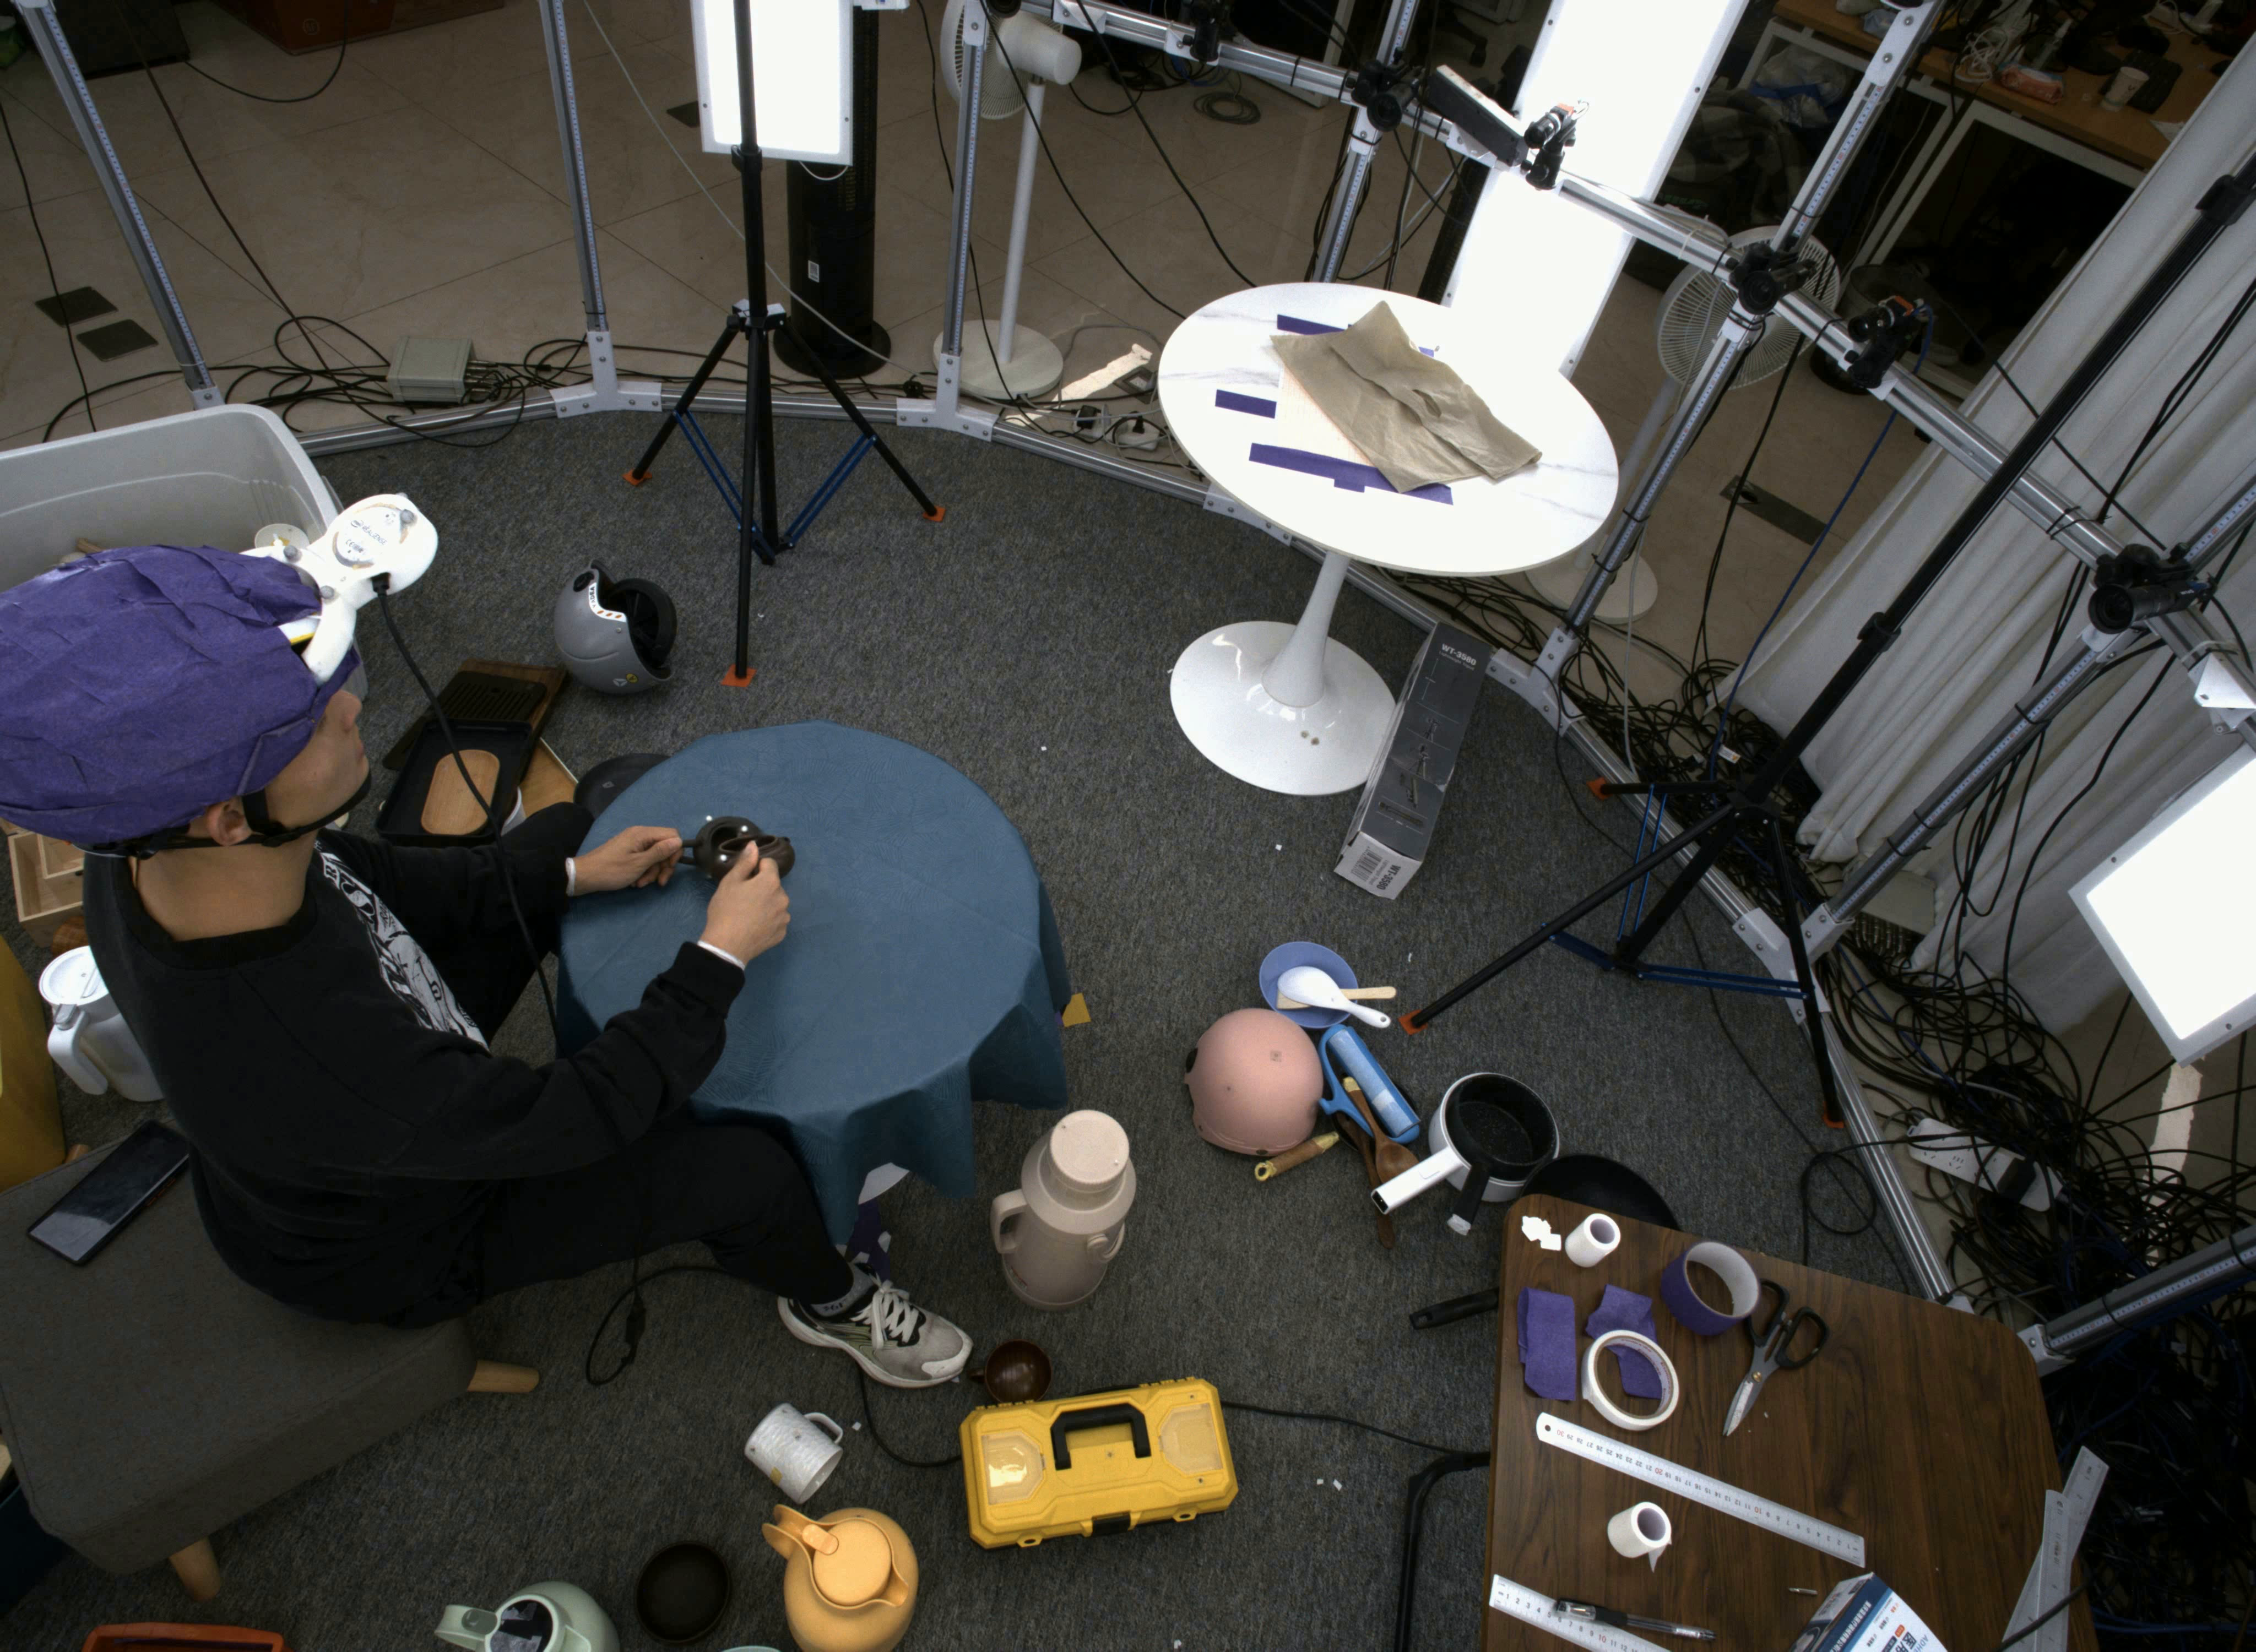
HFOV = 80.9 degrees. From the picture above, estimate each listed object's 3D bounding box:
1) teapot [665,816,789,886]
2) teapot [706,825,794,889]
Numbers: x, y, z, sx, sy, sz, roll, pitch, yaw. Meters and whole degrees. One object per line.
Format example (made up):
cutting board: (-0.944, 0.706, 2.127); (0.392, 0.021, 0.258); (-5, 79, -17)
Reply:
teapot: (-0.507, 0.031, 1.634); (0.155, 0.065, 0.090); (-1, 54, -18)
teapot: (-0.444, 0.037, 1.522); (0.103, 0.055, 0.148); (-15, 18, -24)
